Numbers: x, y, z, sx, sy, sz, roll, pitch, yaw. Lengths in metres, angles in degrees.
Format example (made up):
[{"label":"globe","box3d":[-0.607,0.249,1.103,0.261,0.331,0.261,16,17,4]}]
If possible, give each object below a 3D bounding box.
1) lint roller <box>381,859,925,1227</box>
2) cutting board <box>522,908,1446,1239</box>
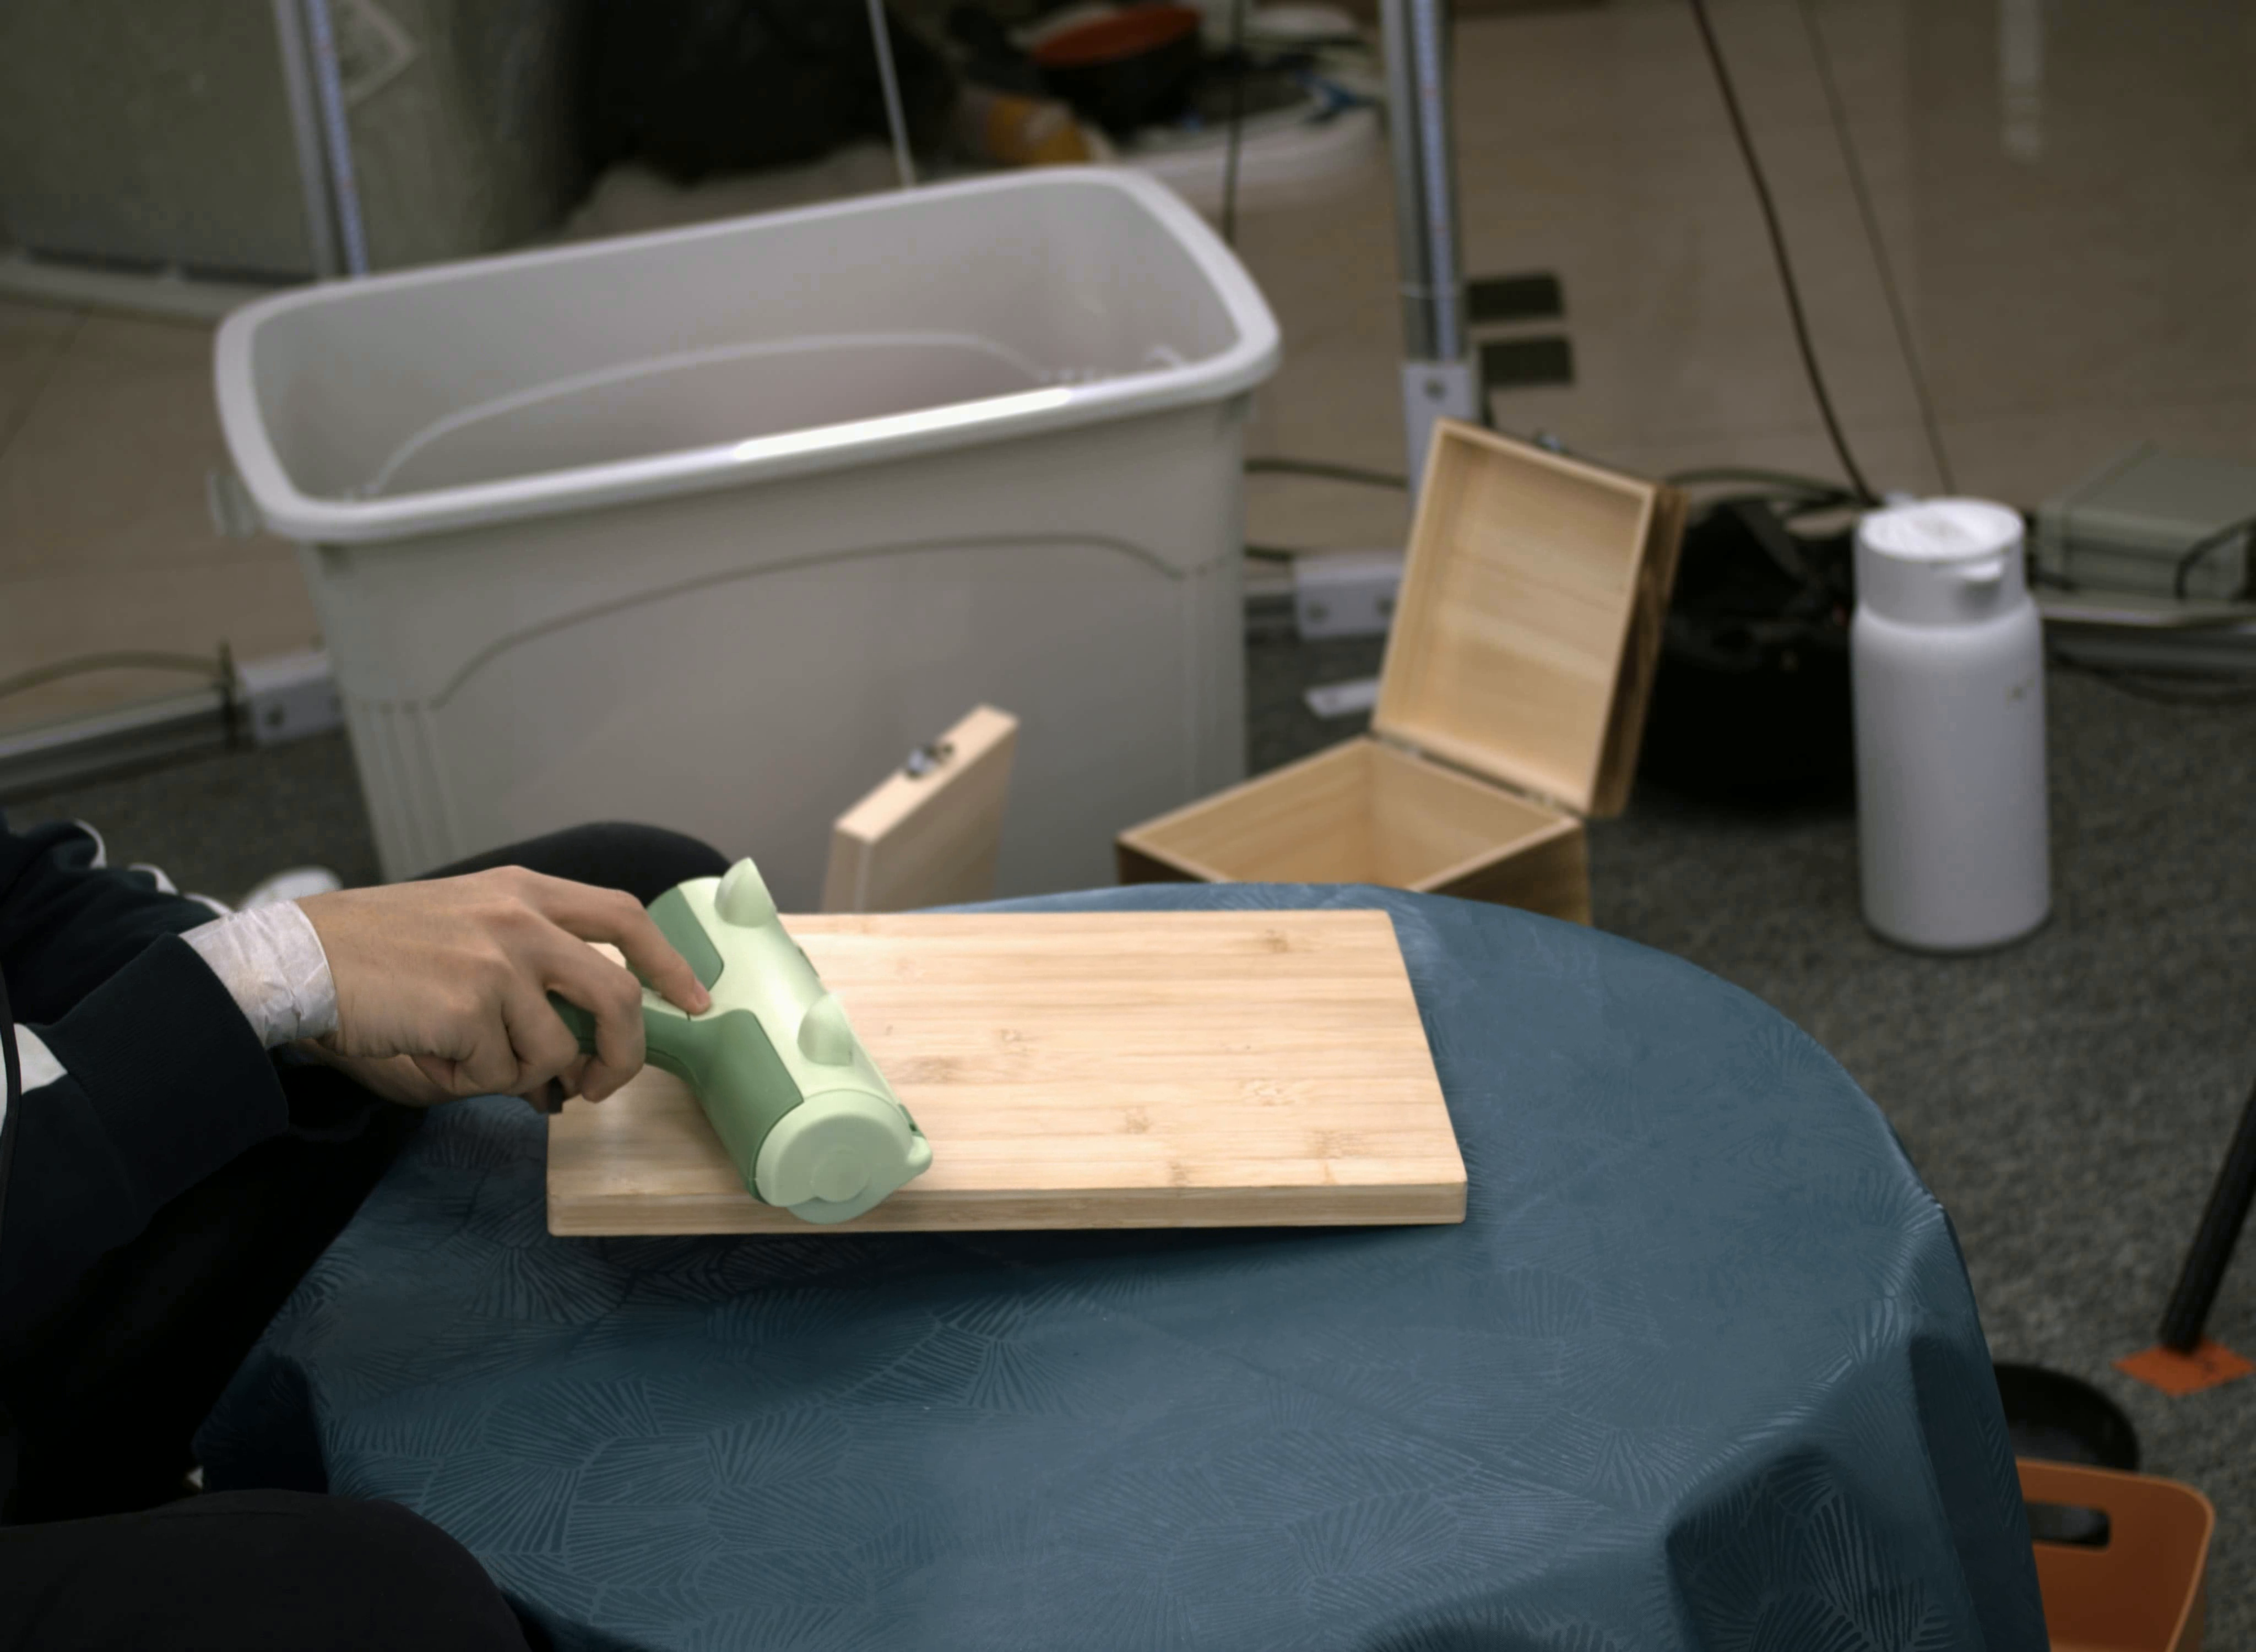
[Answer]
[{"label":"lint roller","box3d":[-0.178,0.059,2.079,0.184,0.083,0.196,20,17,-28]},{"label":"cutting board","box3d":[-0.058,0.093,2.186,0.348,0.024,0.247,-1,24,-6]}]
